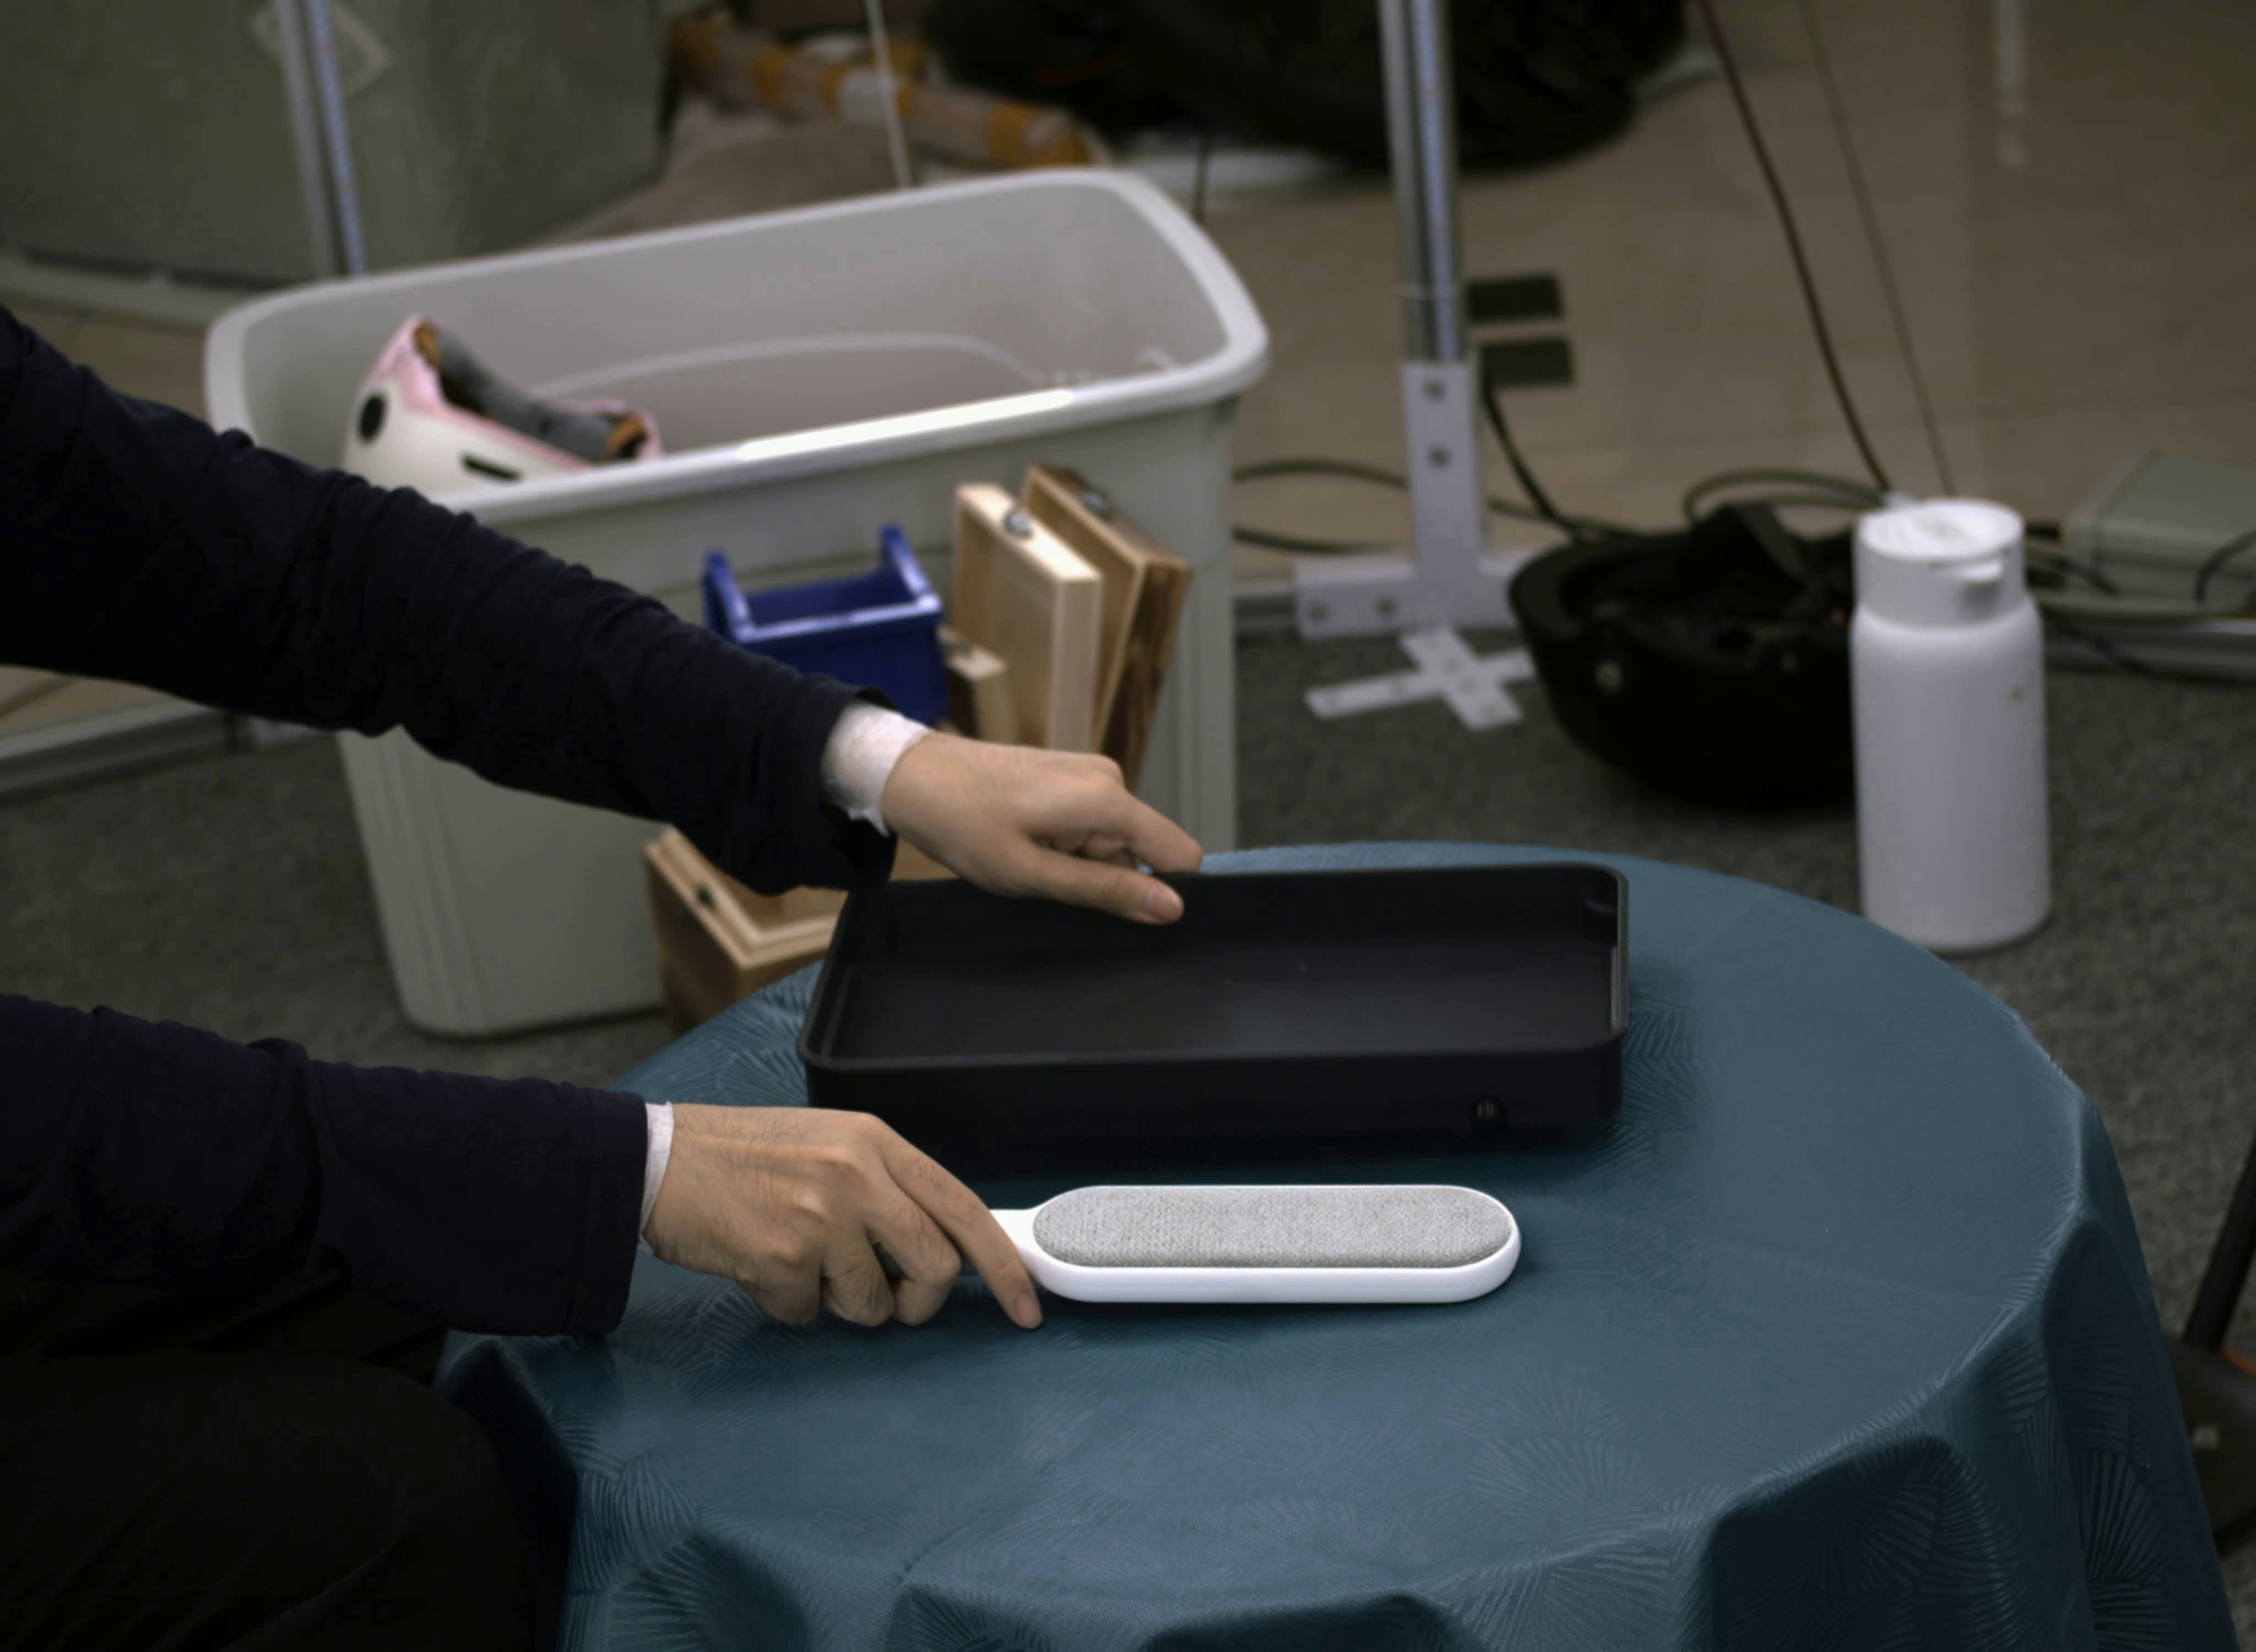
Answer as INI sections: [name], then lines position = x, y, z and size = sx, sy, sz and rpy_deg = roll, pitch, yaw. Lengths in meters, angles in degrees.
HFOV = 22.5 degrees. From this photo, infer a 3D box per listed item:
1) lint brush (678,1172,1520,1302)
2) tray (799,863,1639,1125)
[lint brush]
position = -0.011, 0.149, 2.073
size = 0.308, 0.021, 0.059
rpy_deg = 0, 38, 4
[tray]
position = 0.039, 0.064, 2.217
size = 0.317, 0.037, 0.182
rpy_deg = -1, 21, 7
